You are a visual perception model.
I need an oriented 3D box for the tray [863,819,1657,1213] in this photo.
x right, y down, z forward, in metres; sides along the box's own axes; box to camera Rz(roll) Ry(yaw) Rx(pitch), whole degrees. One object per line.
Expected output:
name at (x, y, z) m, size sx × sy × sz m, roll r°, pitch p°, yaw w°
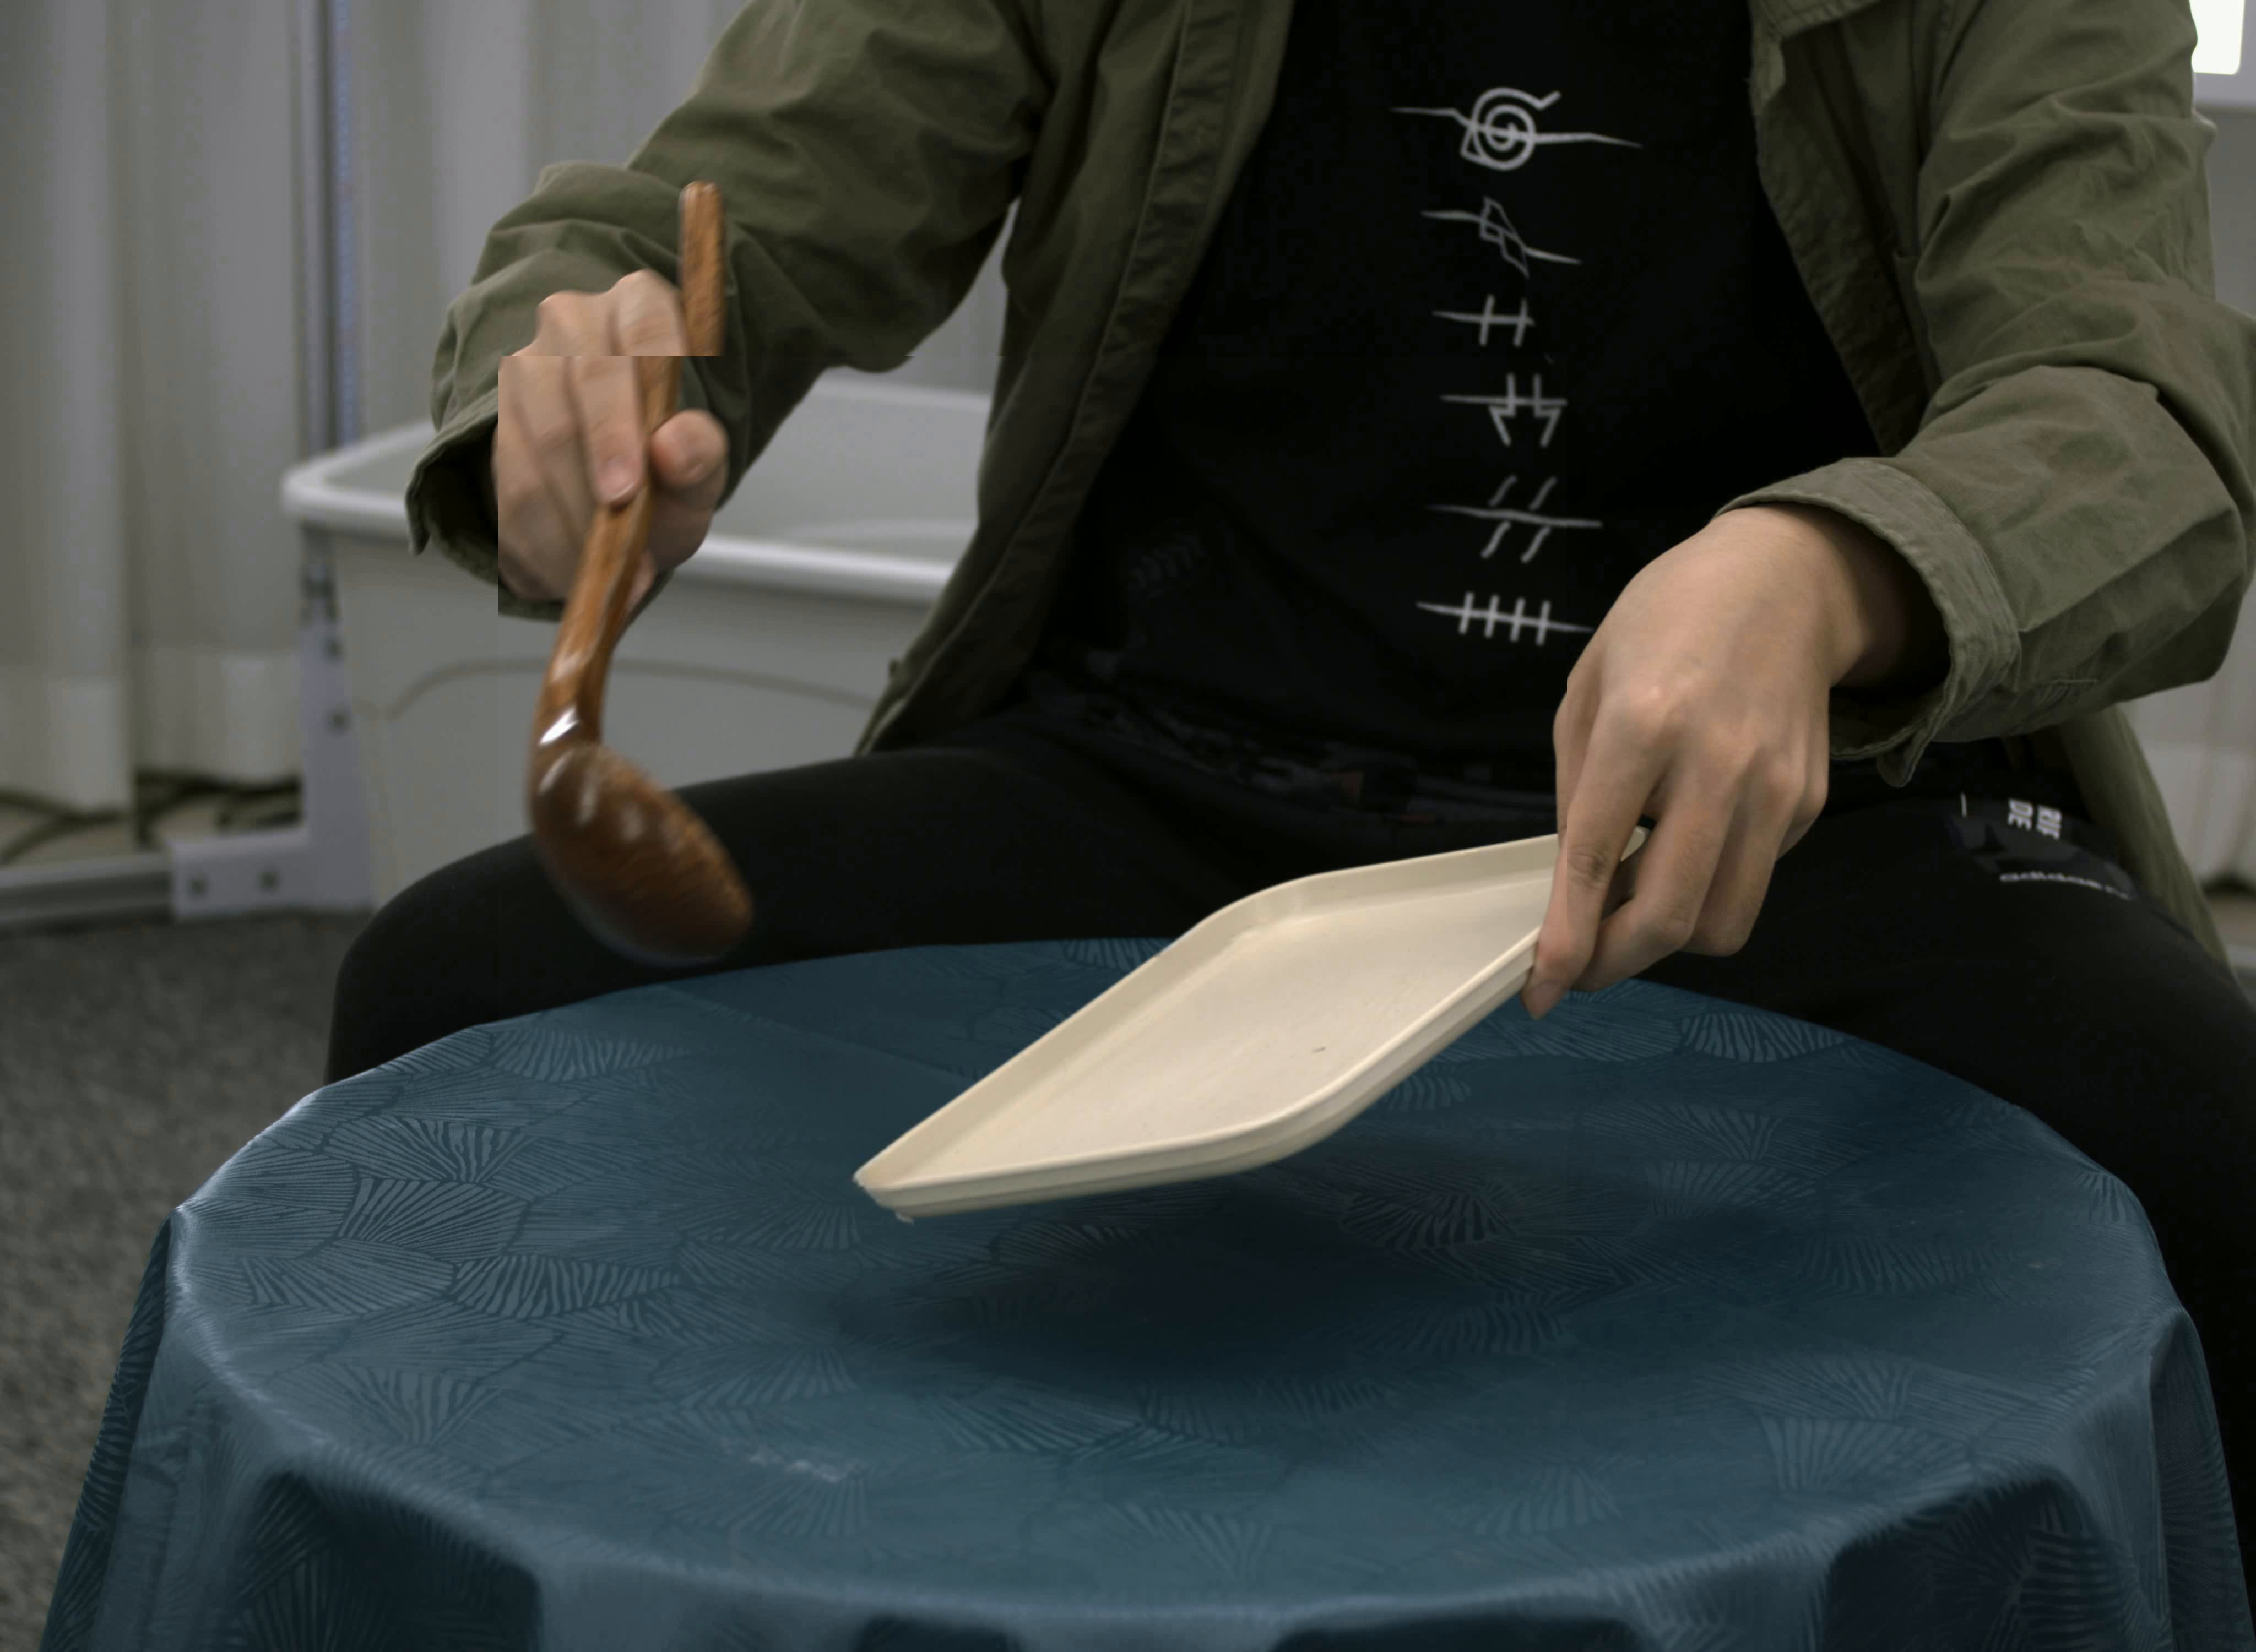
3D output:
tray at (0.043, 0.056, 1.551) m, size 0.169 × 0.017 × 0.240 m, roll -11°, pitch 14°, yaw 38°

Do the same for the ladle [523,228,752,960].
ladle at (-0.132, -0.079, 1.596) m, size 0.076 × 0.083 × 0.272 m, roll 5°, pitch 53°, yaw 5°
